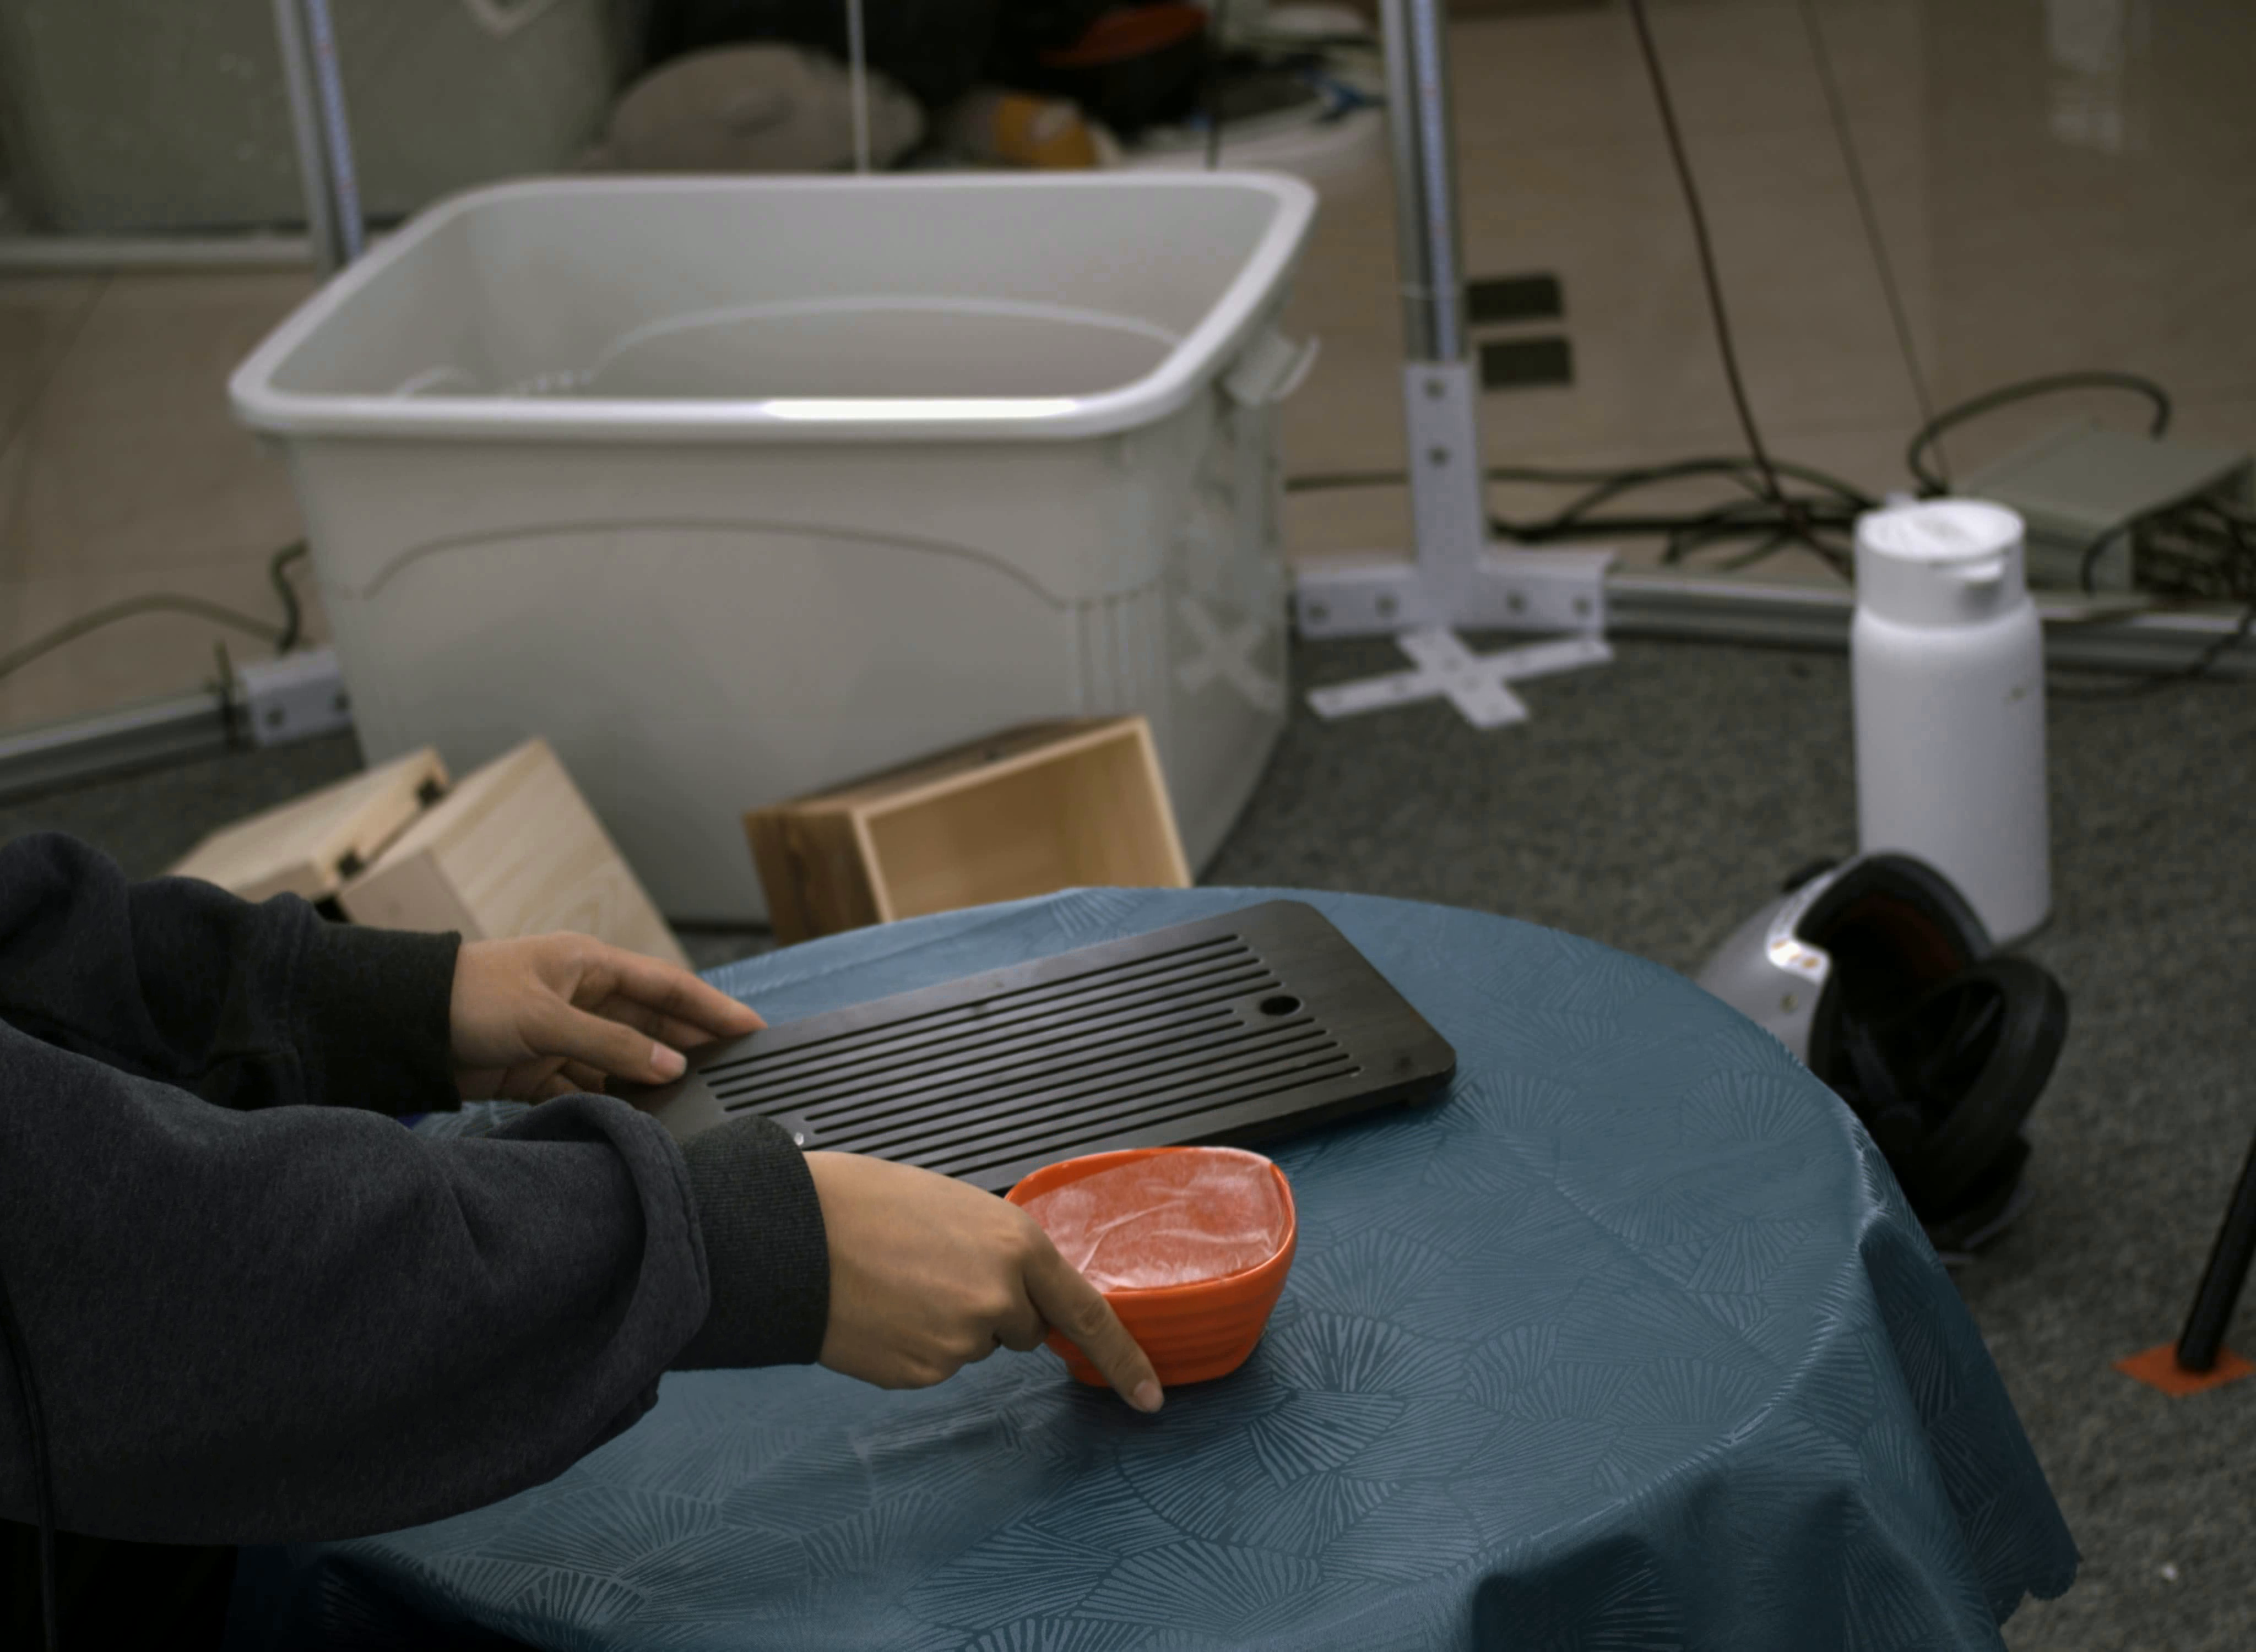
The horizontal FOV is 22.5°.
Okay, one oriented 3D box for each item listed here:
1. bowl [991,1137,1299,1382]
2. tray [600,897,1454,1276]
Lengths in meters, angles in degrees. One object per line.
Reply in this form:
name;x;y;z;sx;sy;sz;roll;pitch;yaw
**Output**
bowl;0.008;0.159;2.023;0.119;0.052;0.117;-4;26;2
tray;-0.041;0.100;2.210;0.305;0.019;0.168;-14;28;-16
